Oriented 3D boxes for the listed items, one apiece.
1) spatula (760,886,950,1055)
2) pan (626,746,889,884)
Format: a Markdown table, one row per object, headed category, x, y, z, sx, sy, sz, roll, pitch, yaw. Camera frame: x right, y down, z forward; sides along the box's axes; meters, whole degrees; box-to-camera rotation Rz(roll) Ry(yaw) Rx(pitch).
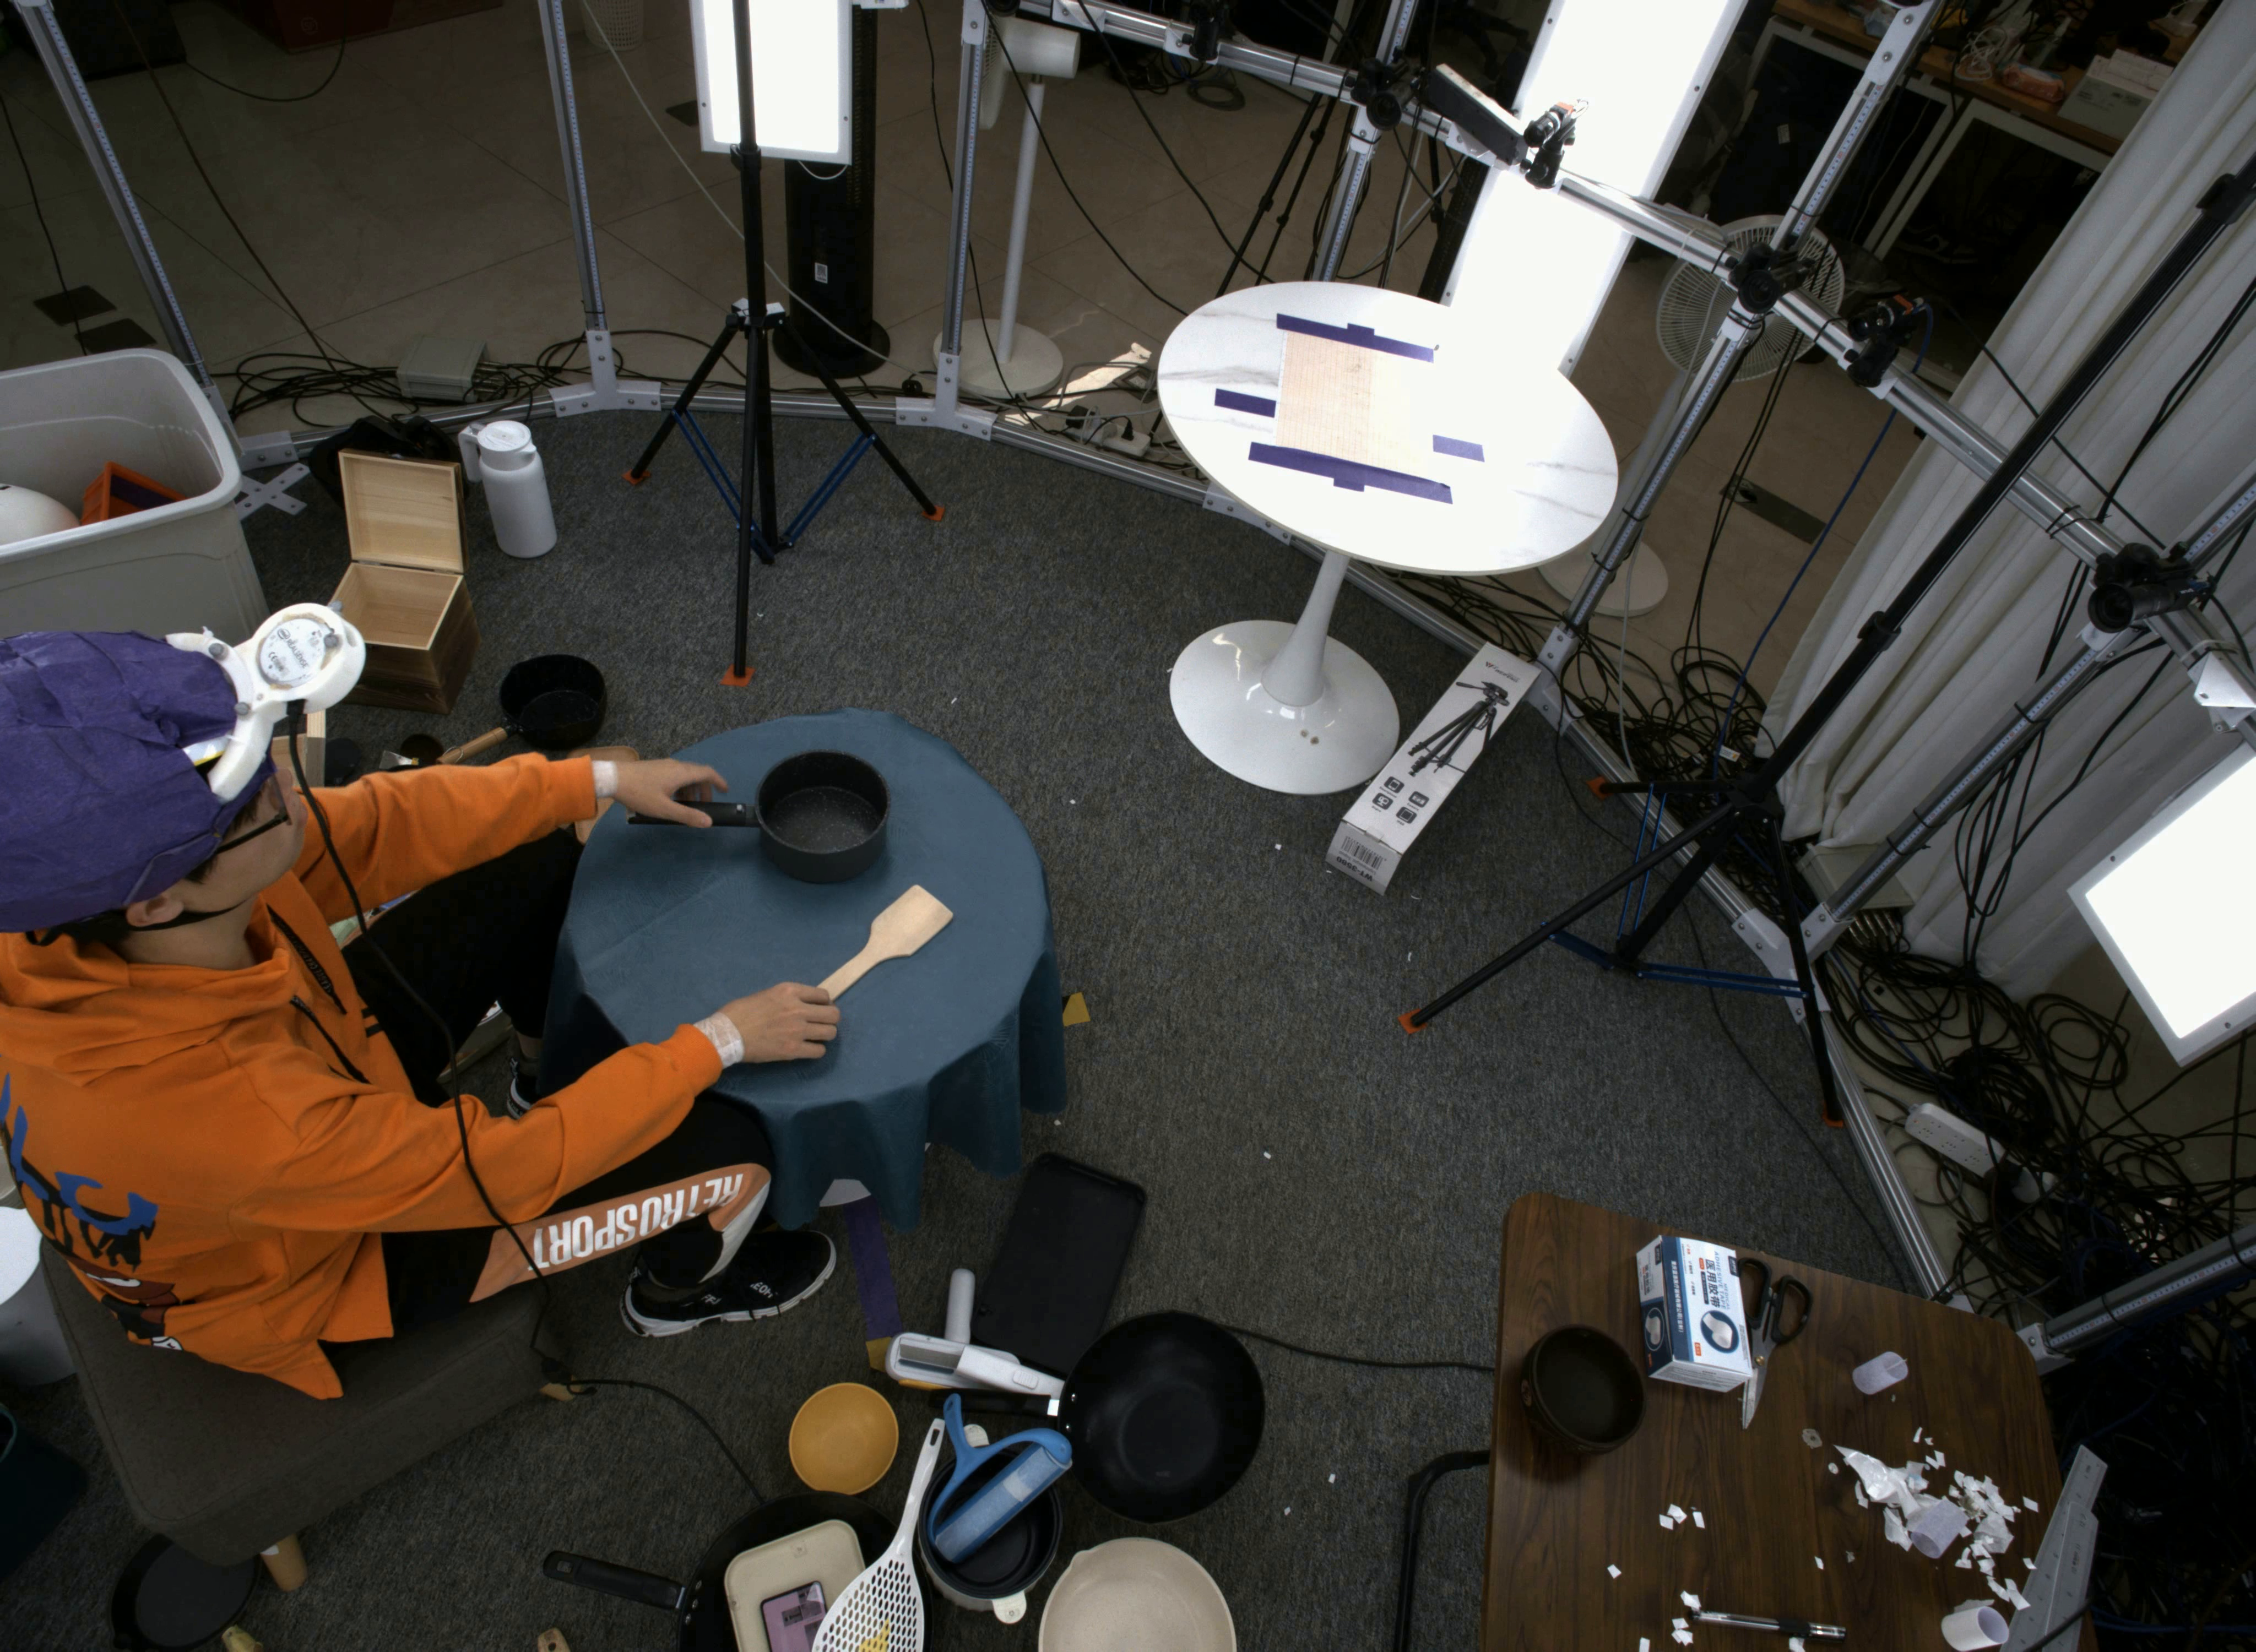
| category | x | y | z | sx | sy | sz | roll | pitch | yaw |
| --- | --- | --- | --- | --- | --- | --- | --- | --- | --- |
| spatula | -0.338 | 0.178 | 1.598 | 0.071 | 0.011 | 0.293 | 39 | 54 | 11 |
| pan | -0.473 | -0.012 | 1.655 | 0.330 | 0.088 | 0.168 | -1 | 53 | -17 |
